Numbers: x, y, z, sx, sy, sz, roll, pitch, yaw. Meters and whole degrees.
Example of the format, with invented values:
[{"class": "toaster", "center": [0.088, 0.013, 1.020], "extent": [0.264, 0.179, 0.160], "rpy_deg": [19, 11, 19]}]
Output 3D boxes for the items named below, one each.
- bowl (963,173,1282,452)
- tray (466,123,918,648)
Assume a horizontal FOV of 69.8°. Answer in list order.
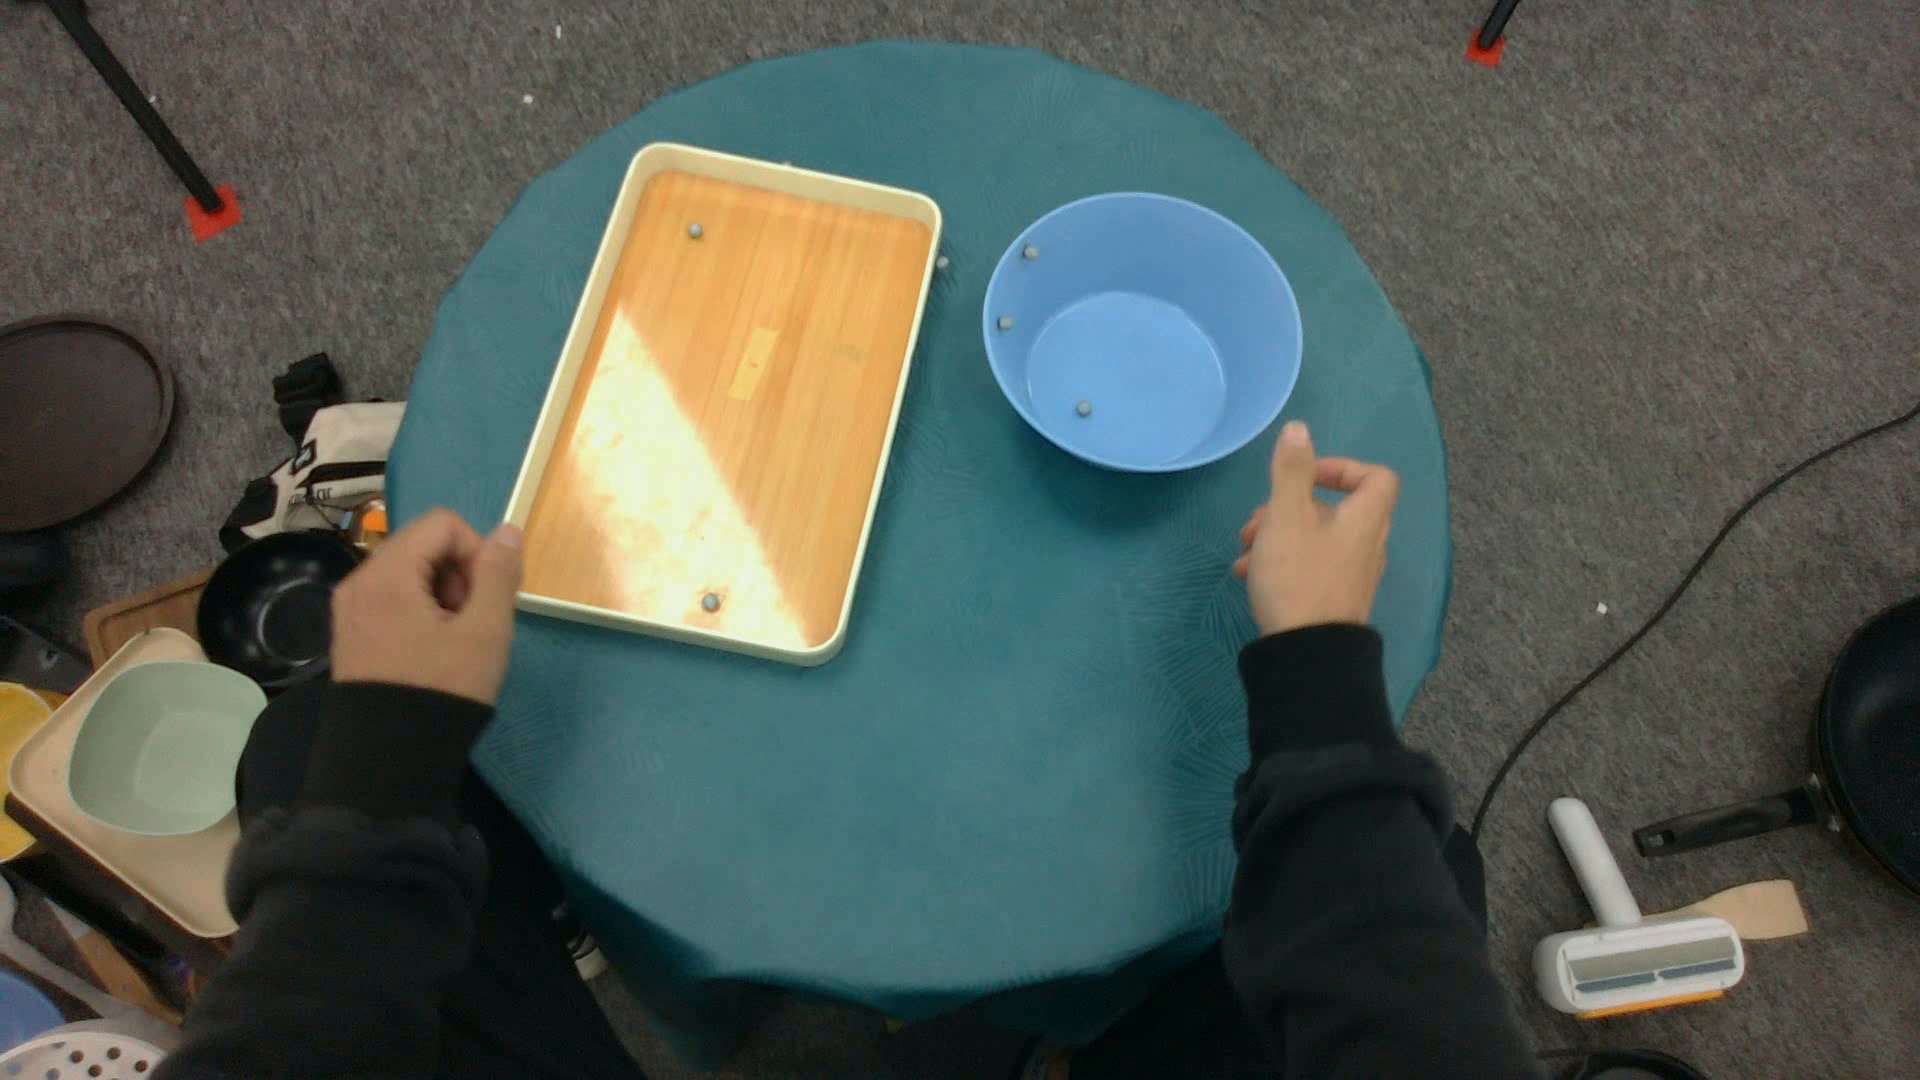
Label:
[{"class": "bowl", "center": [0.088, -0.117, 0.780], "extent": [0.176, 0.070, 0.176], "rpy_deg": [1, 67, -3]}, {"class": "tray", "center": [-0.142, -0.096, 0.779], "extent": [0.191, 0.027, 0.301], "rpy_deg": [11, 67, 1]}]
